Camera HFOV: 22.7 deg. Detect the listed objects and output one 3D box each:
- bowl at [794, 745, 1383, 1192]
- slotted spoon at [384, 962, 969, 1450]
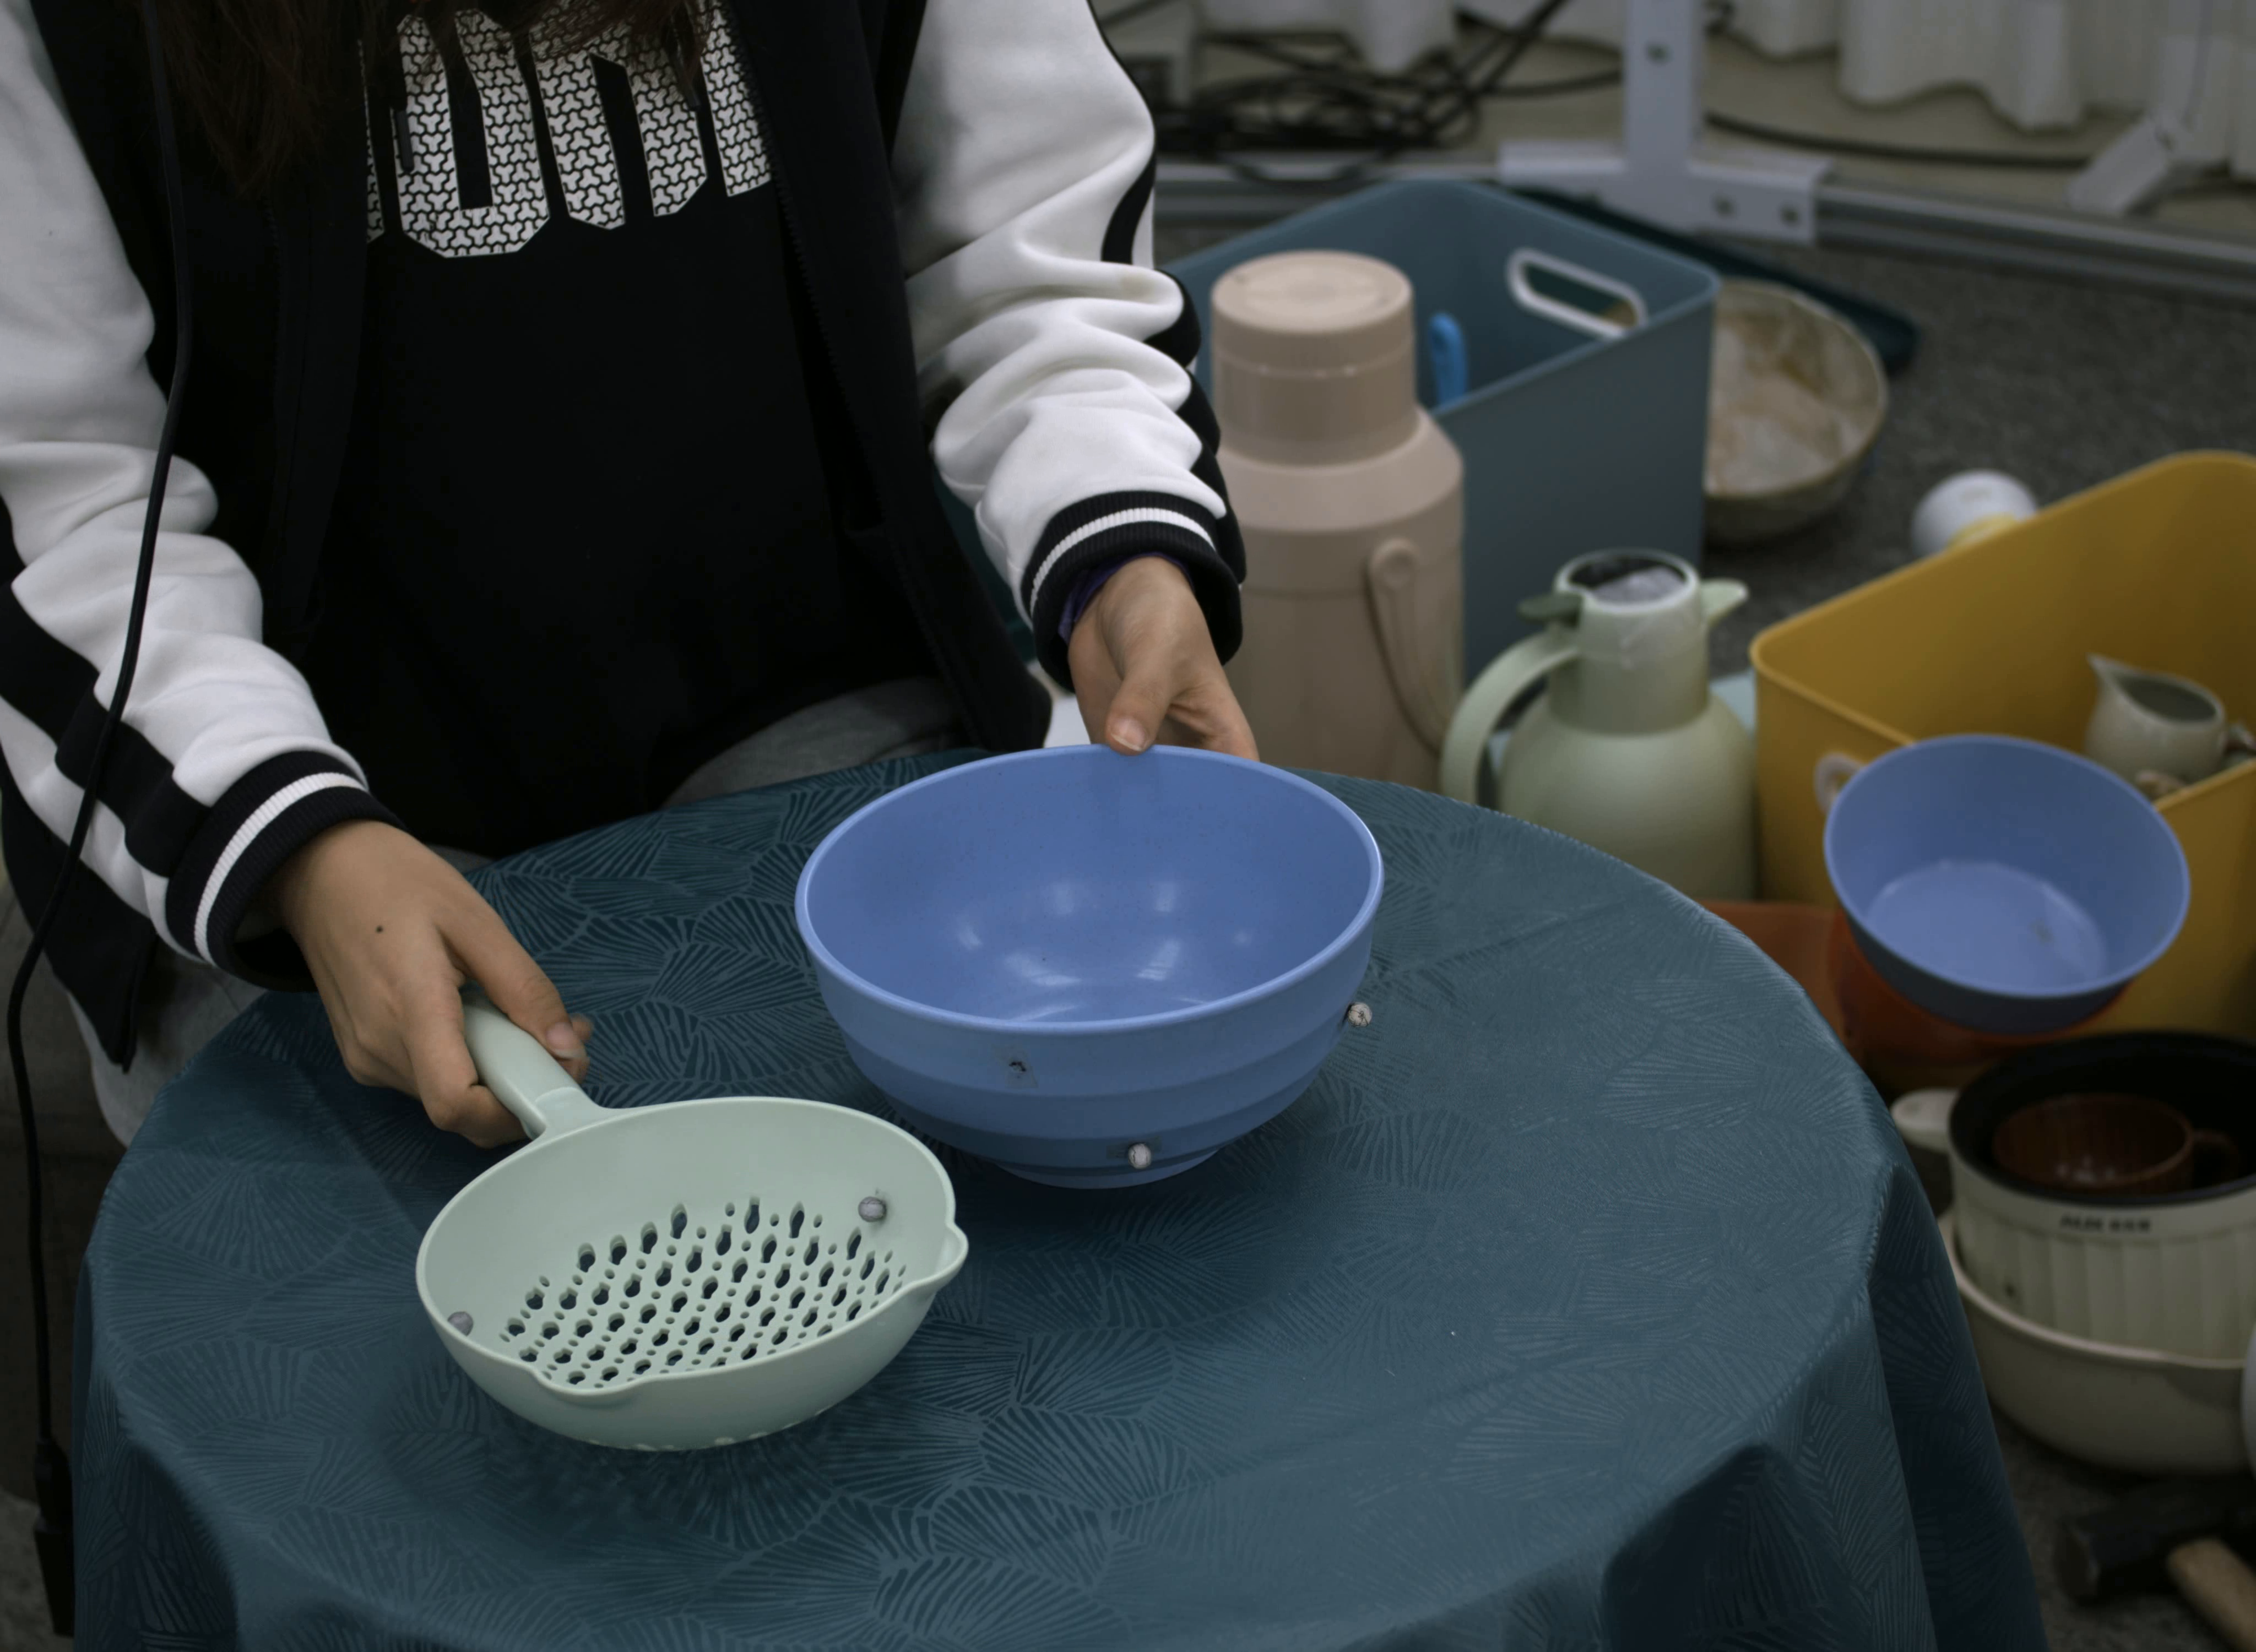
[{"bbox_3d":[-0.011,0.059,1.882,0.195,0.094,0.199,-3,27,2],"label":"bowl"},{"bbox_3d":[-0.179,0.107,1.831,0.170,0.074,0.361,-17,33,-22],"label":"slotted spoon"}]
